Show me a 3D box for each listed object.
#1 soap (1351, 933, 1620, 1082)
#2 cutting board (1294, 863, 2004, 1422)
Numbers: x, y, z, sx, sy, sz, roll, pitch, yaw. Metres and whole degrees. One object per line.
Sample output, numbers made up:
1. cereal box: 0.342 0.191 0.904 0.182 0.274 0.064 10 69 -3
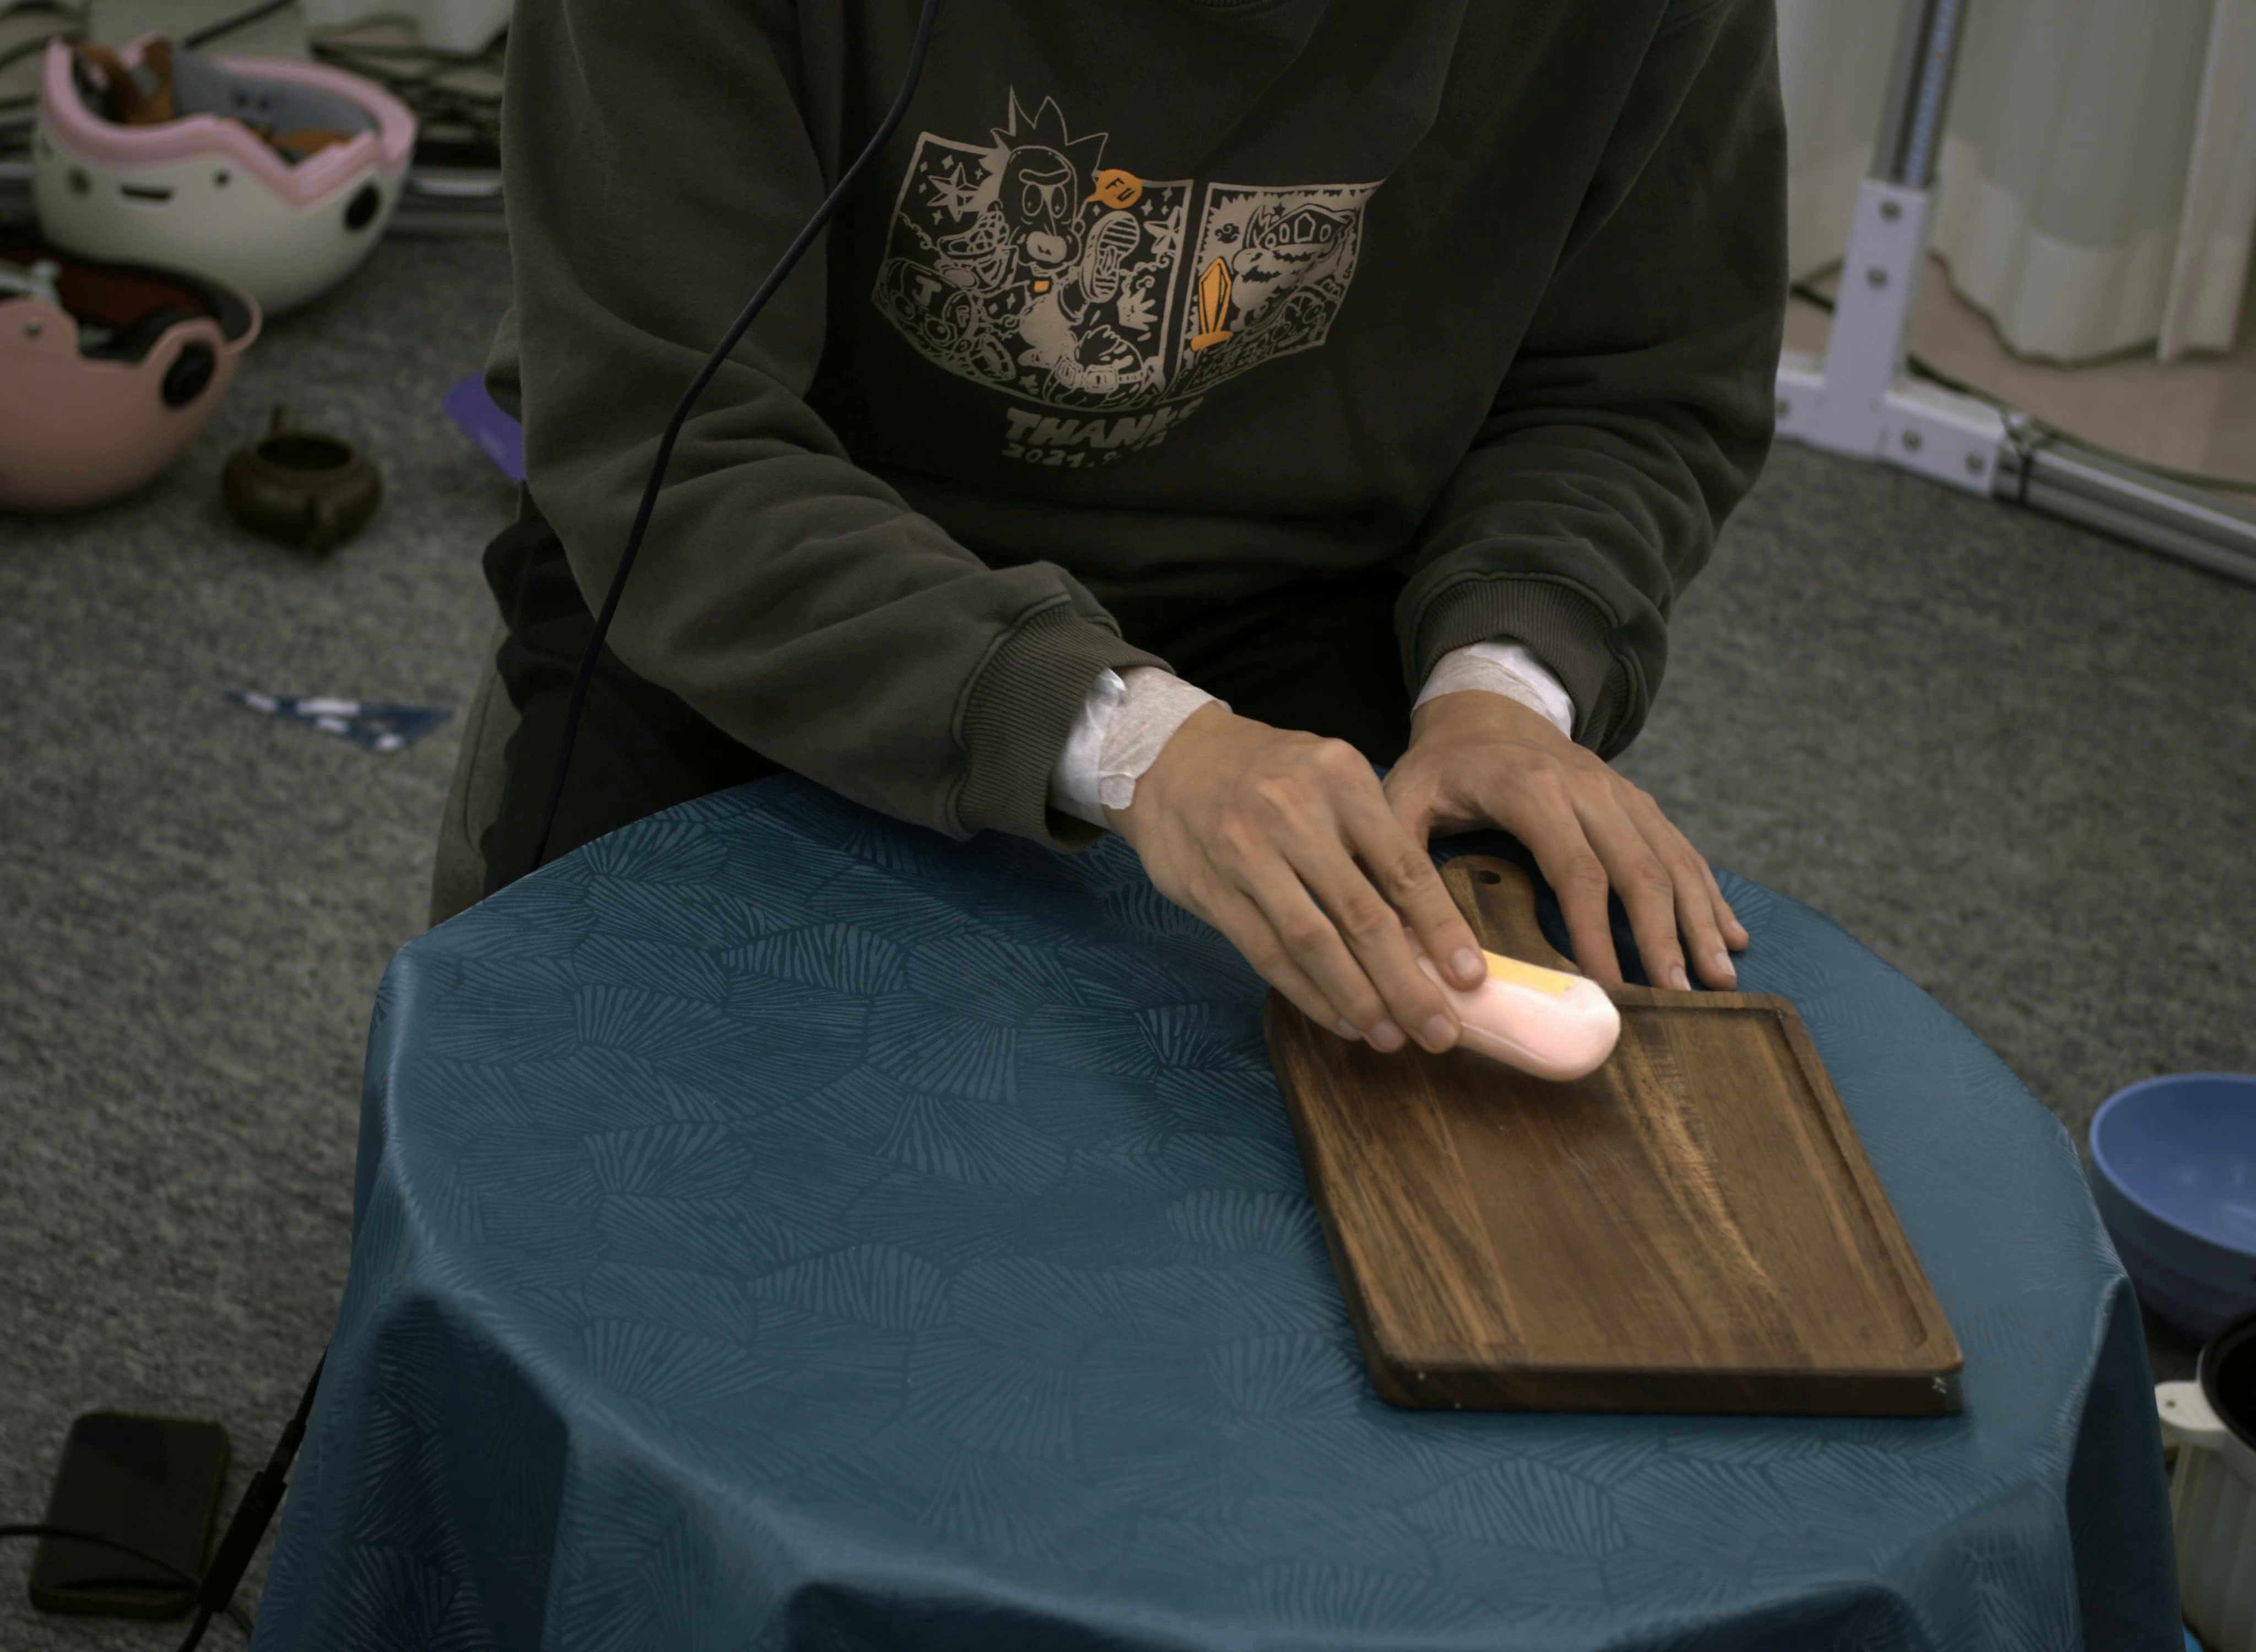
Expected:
1. soap: 0.125 0.063 1.862 0.094 0.030 0.050 16 28 17
2. cutting board: 0.166 0.103 1.860 0.200 0.023 0.355 2 27 -8
